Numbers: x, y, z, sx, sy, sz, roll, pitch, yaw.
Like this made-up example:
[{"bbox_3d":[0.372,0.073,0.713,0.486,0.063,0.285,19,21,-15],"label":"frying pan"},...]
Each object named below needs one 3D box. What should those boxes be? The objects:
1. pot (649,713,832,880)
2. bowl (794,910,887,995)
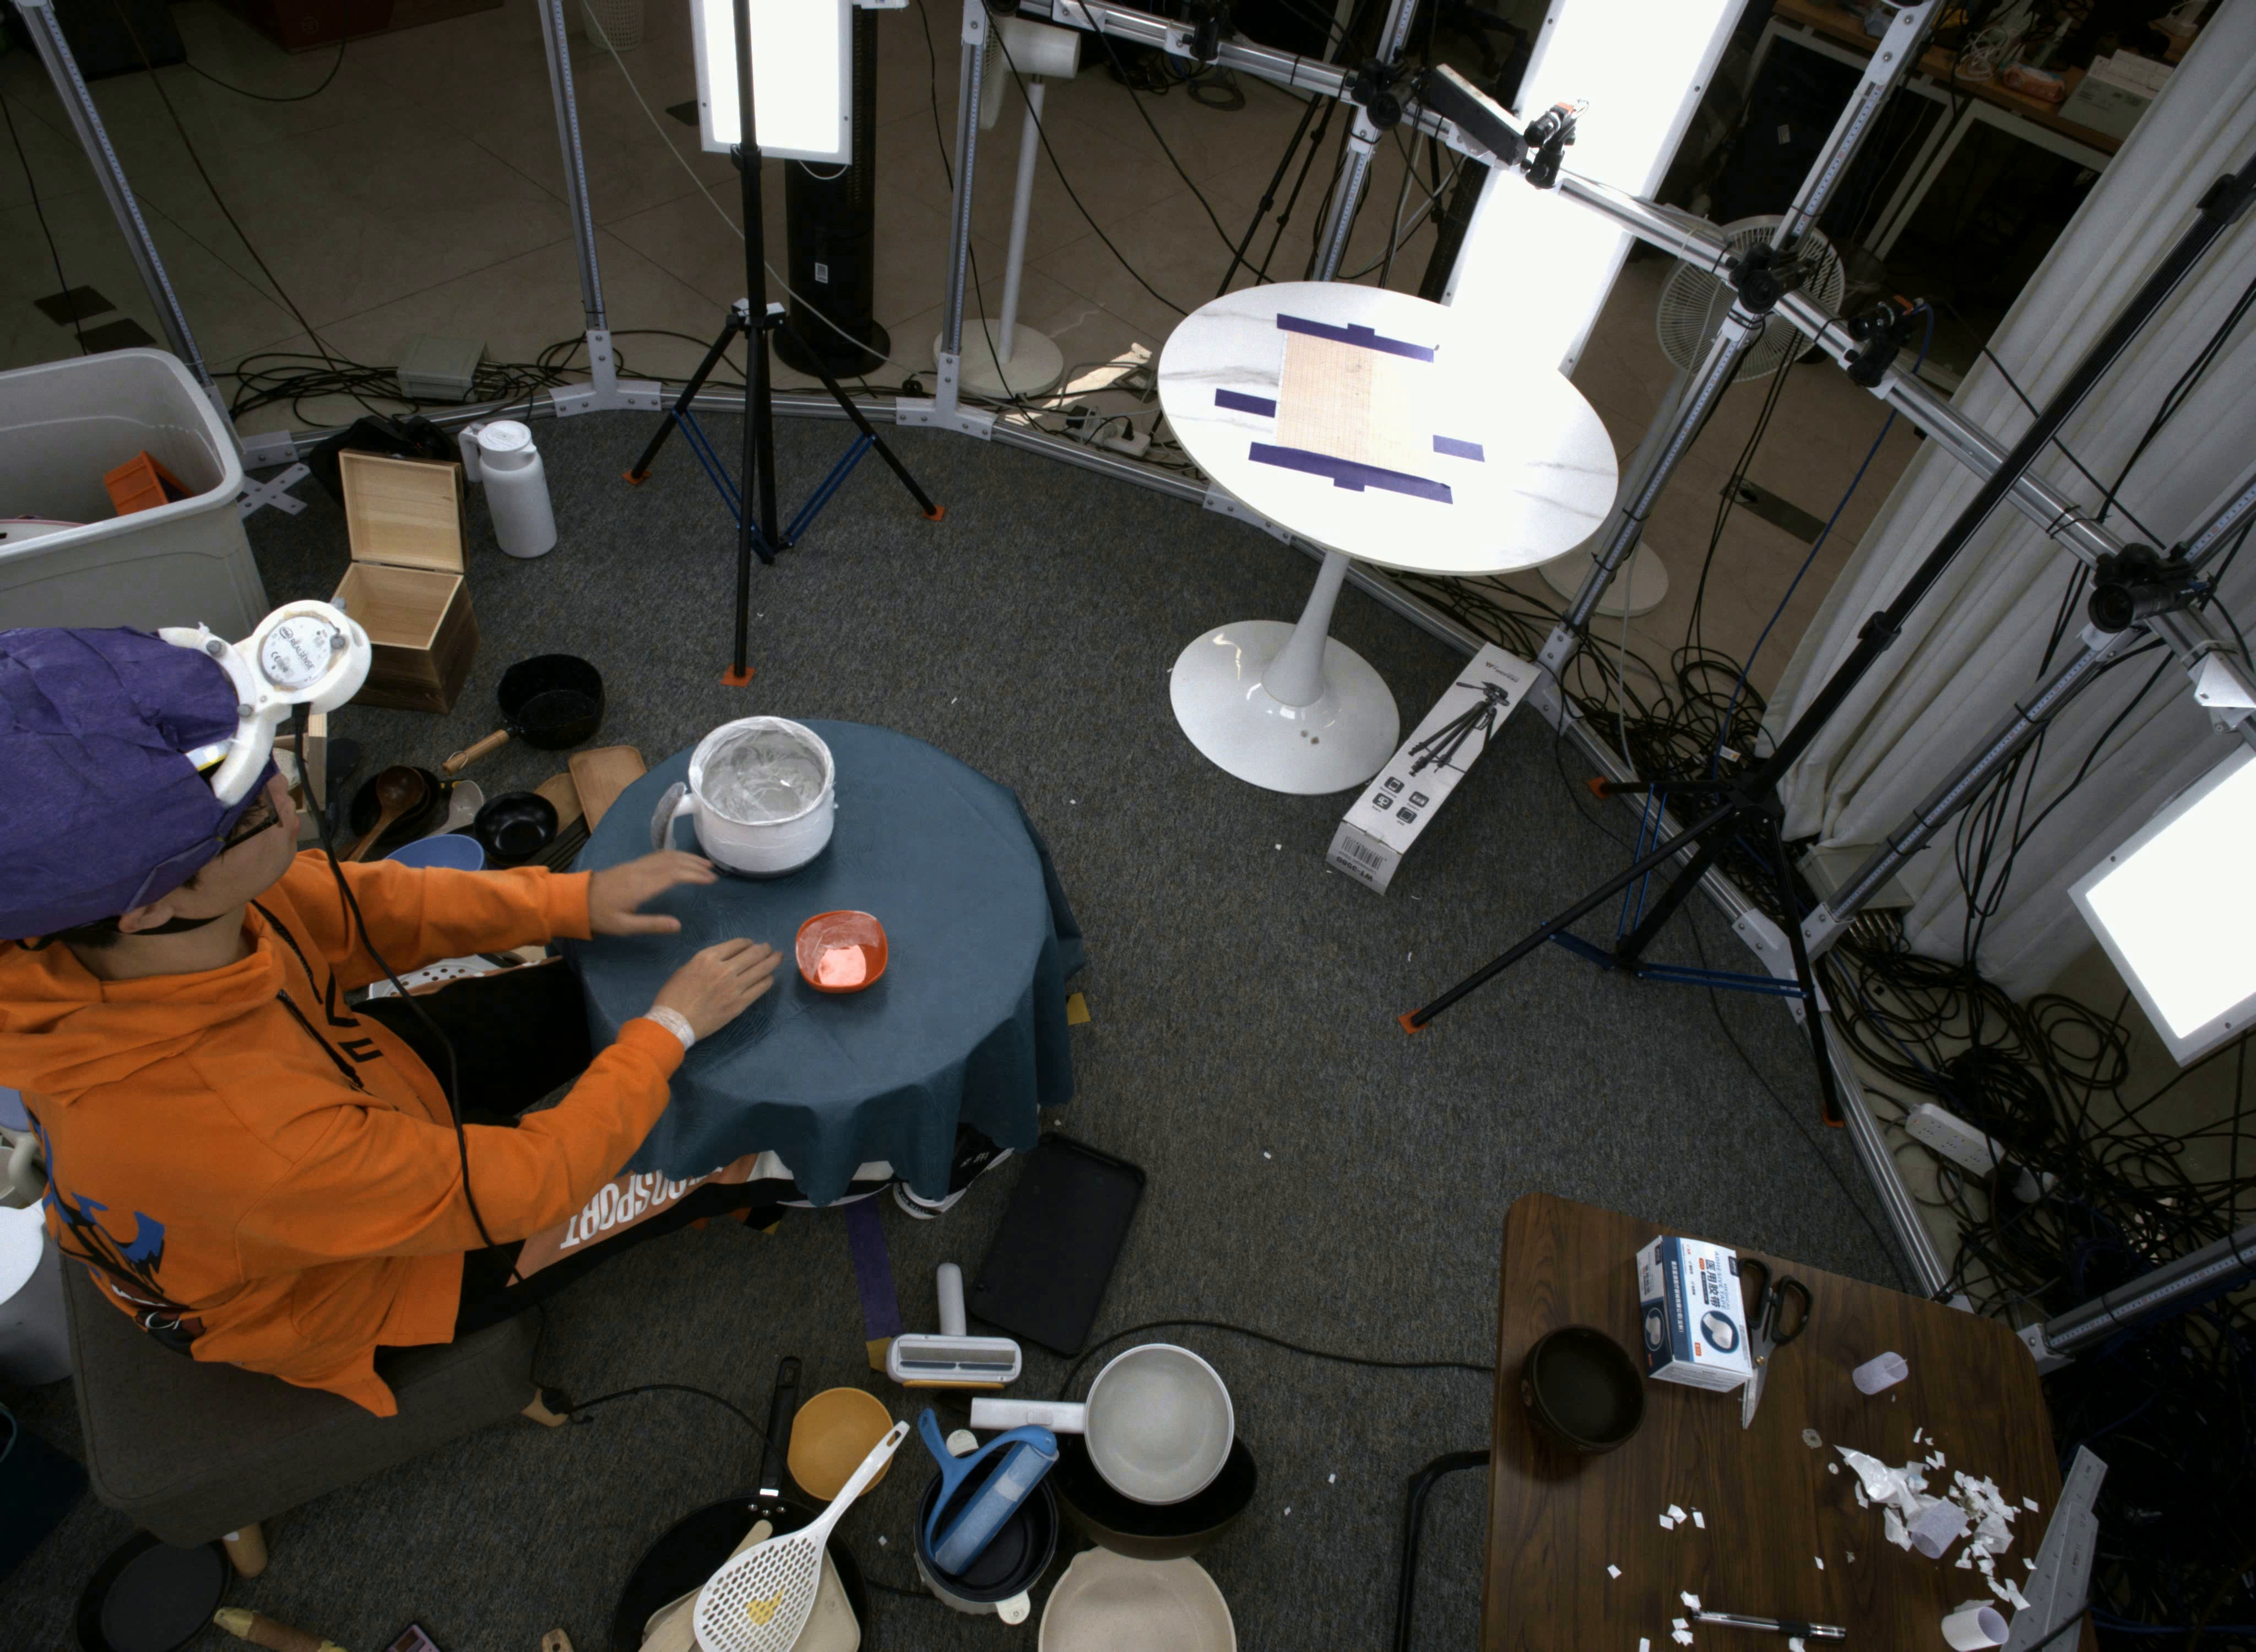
[{"bbox_3d":[-0.489,-0.027,1.628,0.235,0.139,0.174,-16,58,-25],"label":"pot"},{"bbox_3d":[-0.350,0.161,1.580,0.119,0.052,0.117,9,53,-10],"label":"bowl"}]
